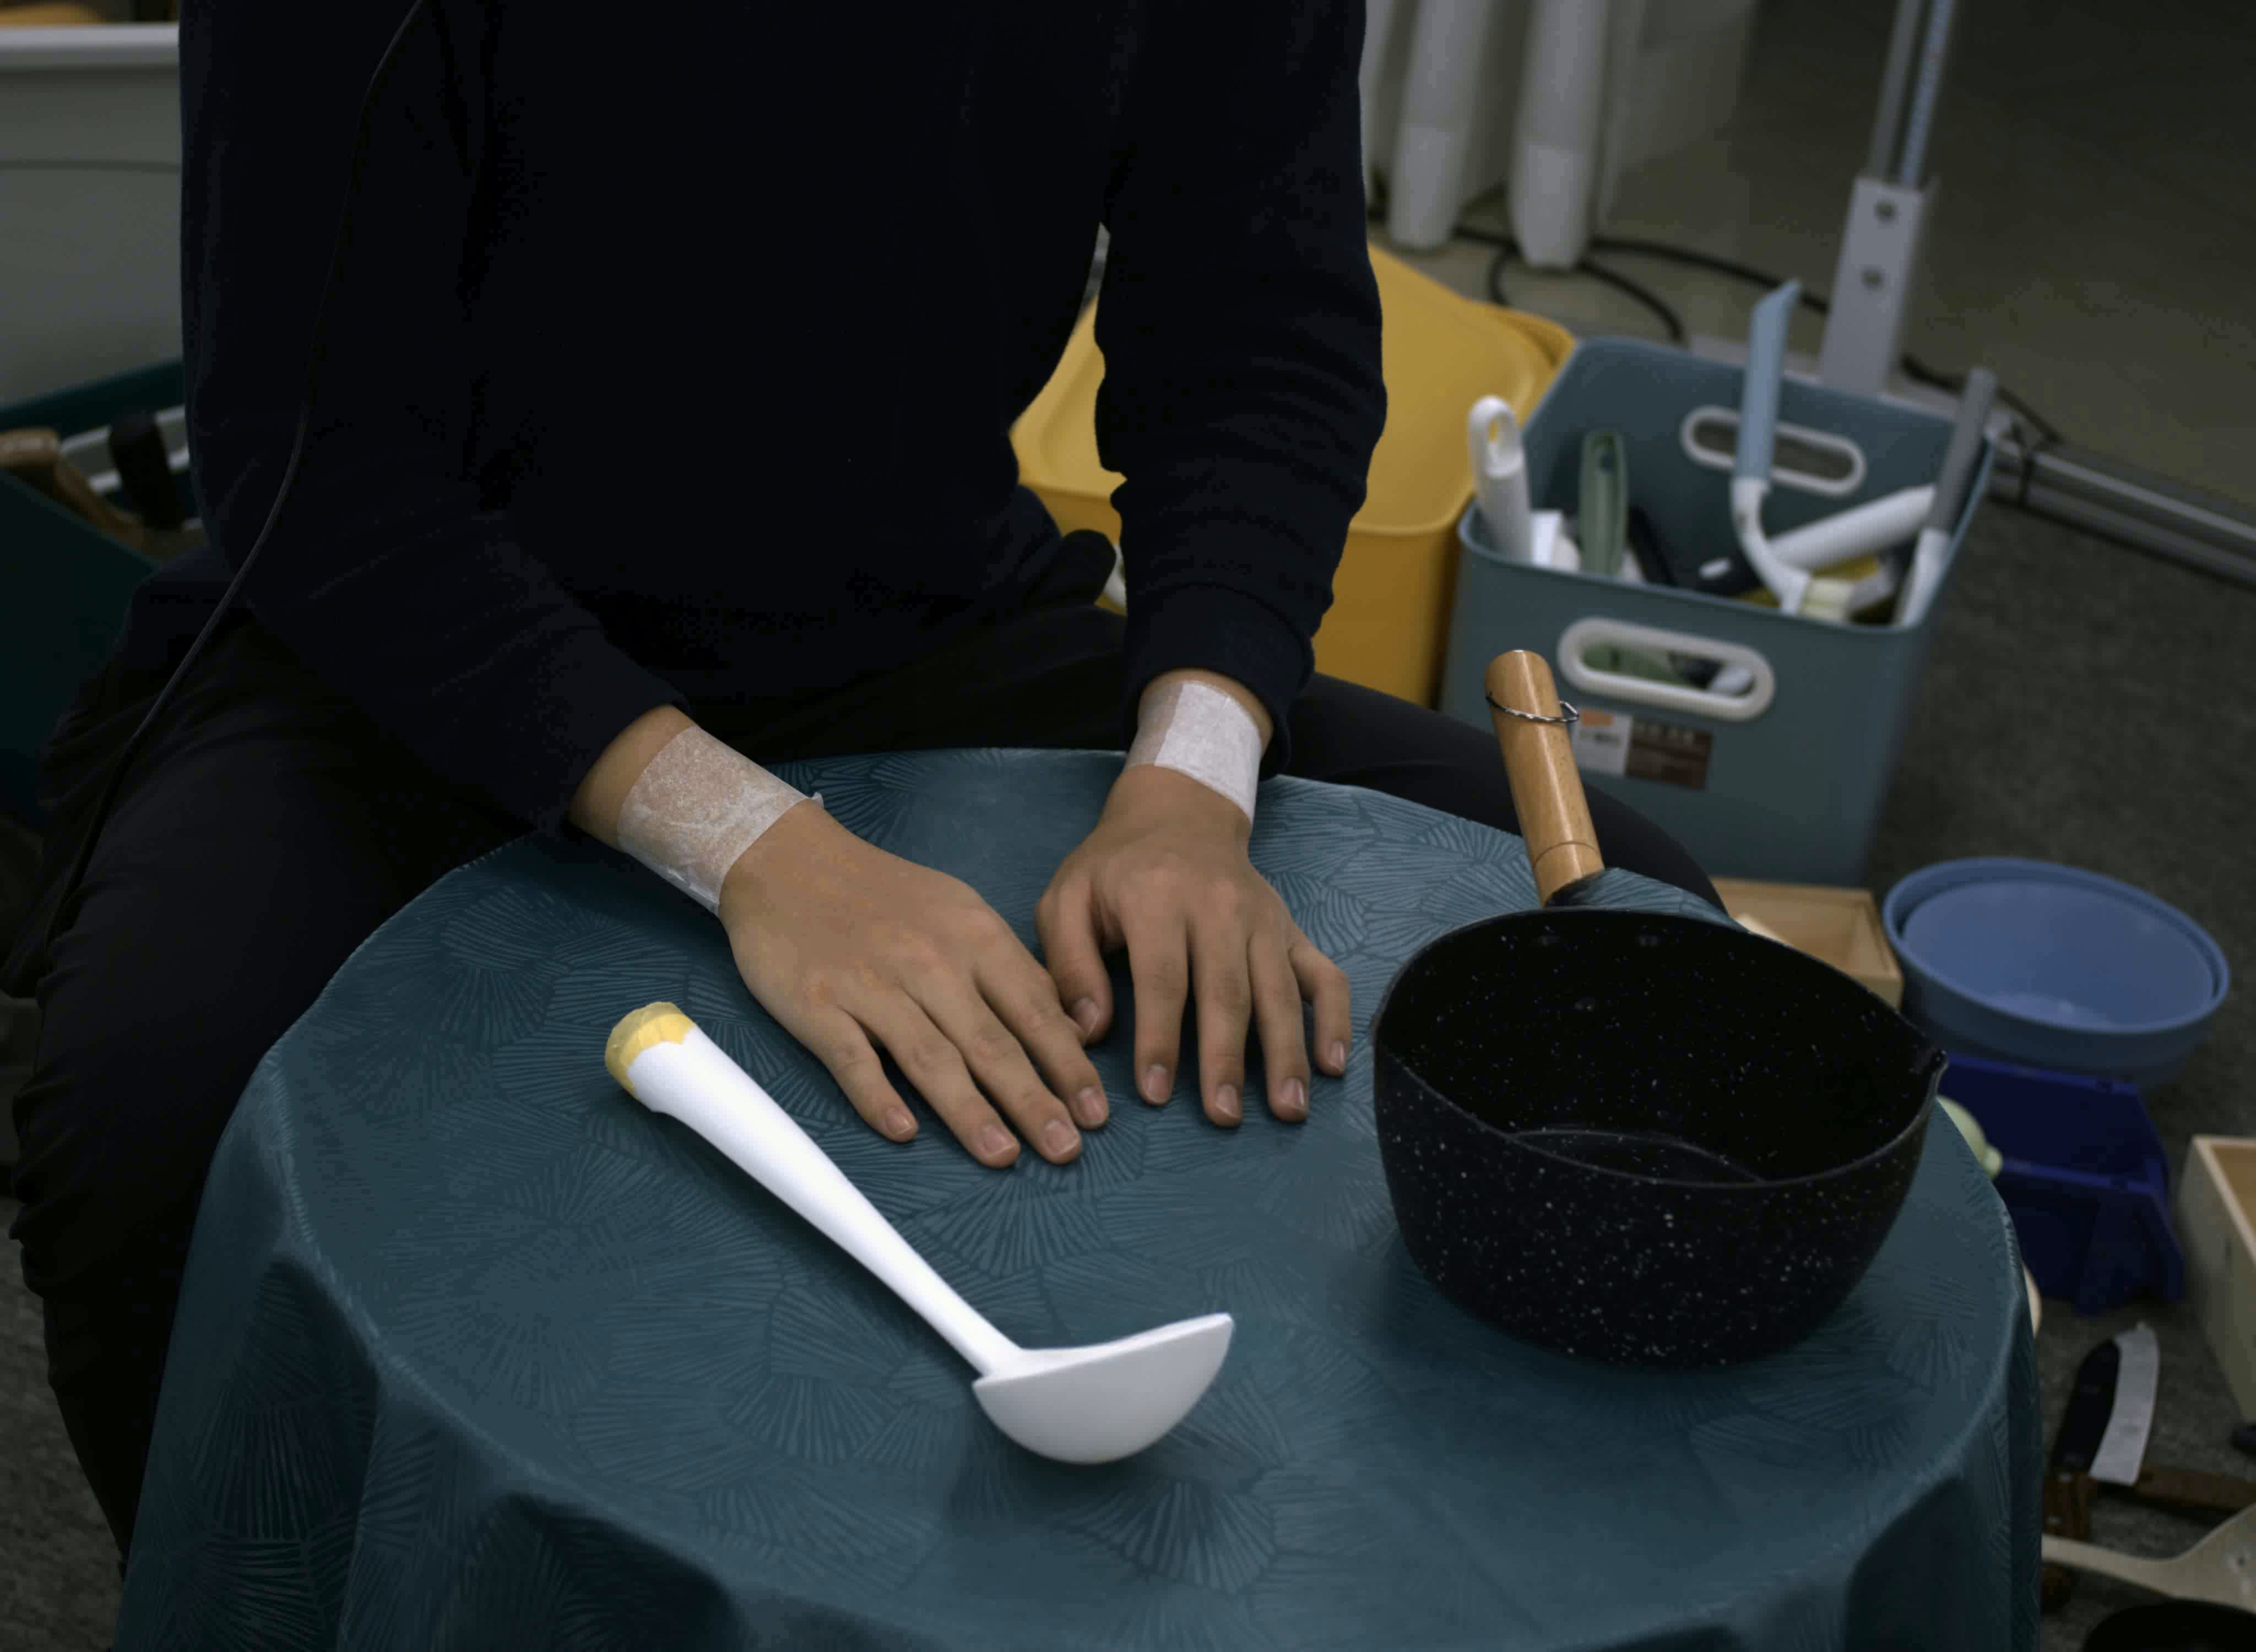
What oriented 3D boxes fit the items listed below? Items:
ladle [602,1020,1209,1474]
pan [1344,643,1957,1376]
[{"bbox_3d":[-0.083,0.124,1.714,0.090,0.069,0.295,-20,35,-30],"label":"ladle"},{"bbox_3d":[0.160,0.060,1.845,0.206,0.108,0.345,0,29,-10],"label":"pan"}]
